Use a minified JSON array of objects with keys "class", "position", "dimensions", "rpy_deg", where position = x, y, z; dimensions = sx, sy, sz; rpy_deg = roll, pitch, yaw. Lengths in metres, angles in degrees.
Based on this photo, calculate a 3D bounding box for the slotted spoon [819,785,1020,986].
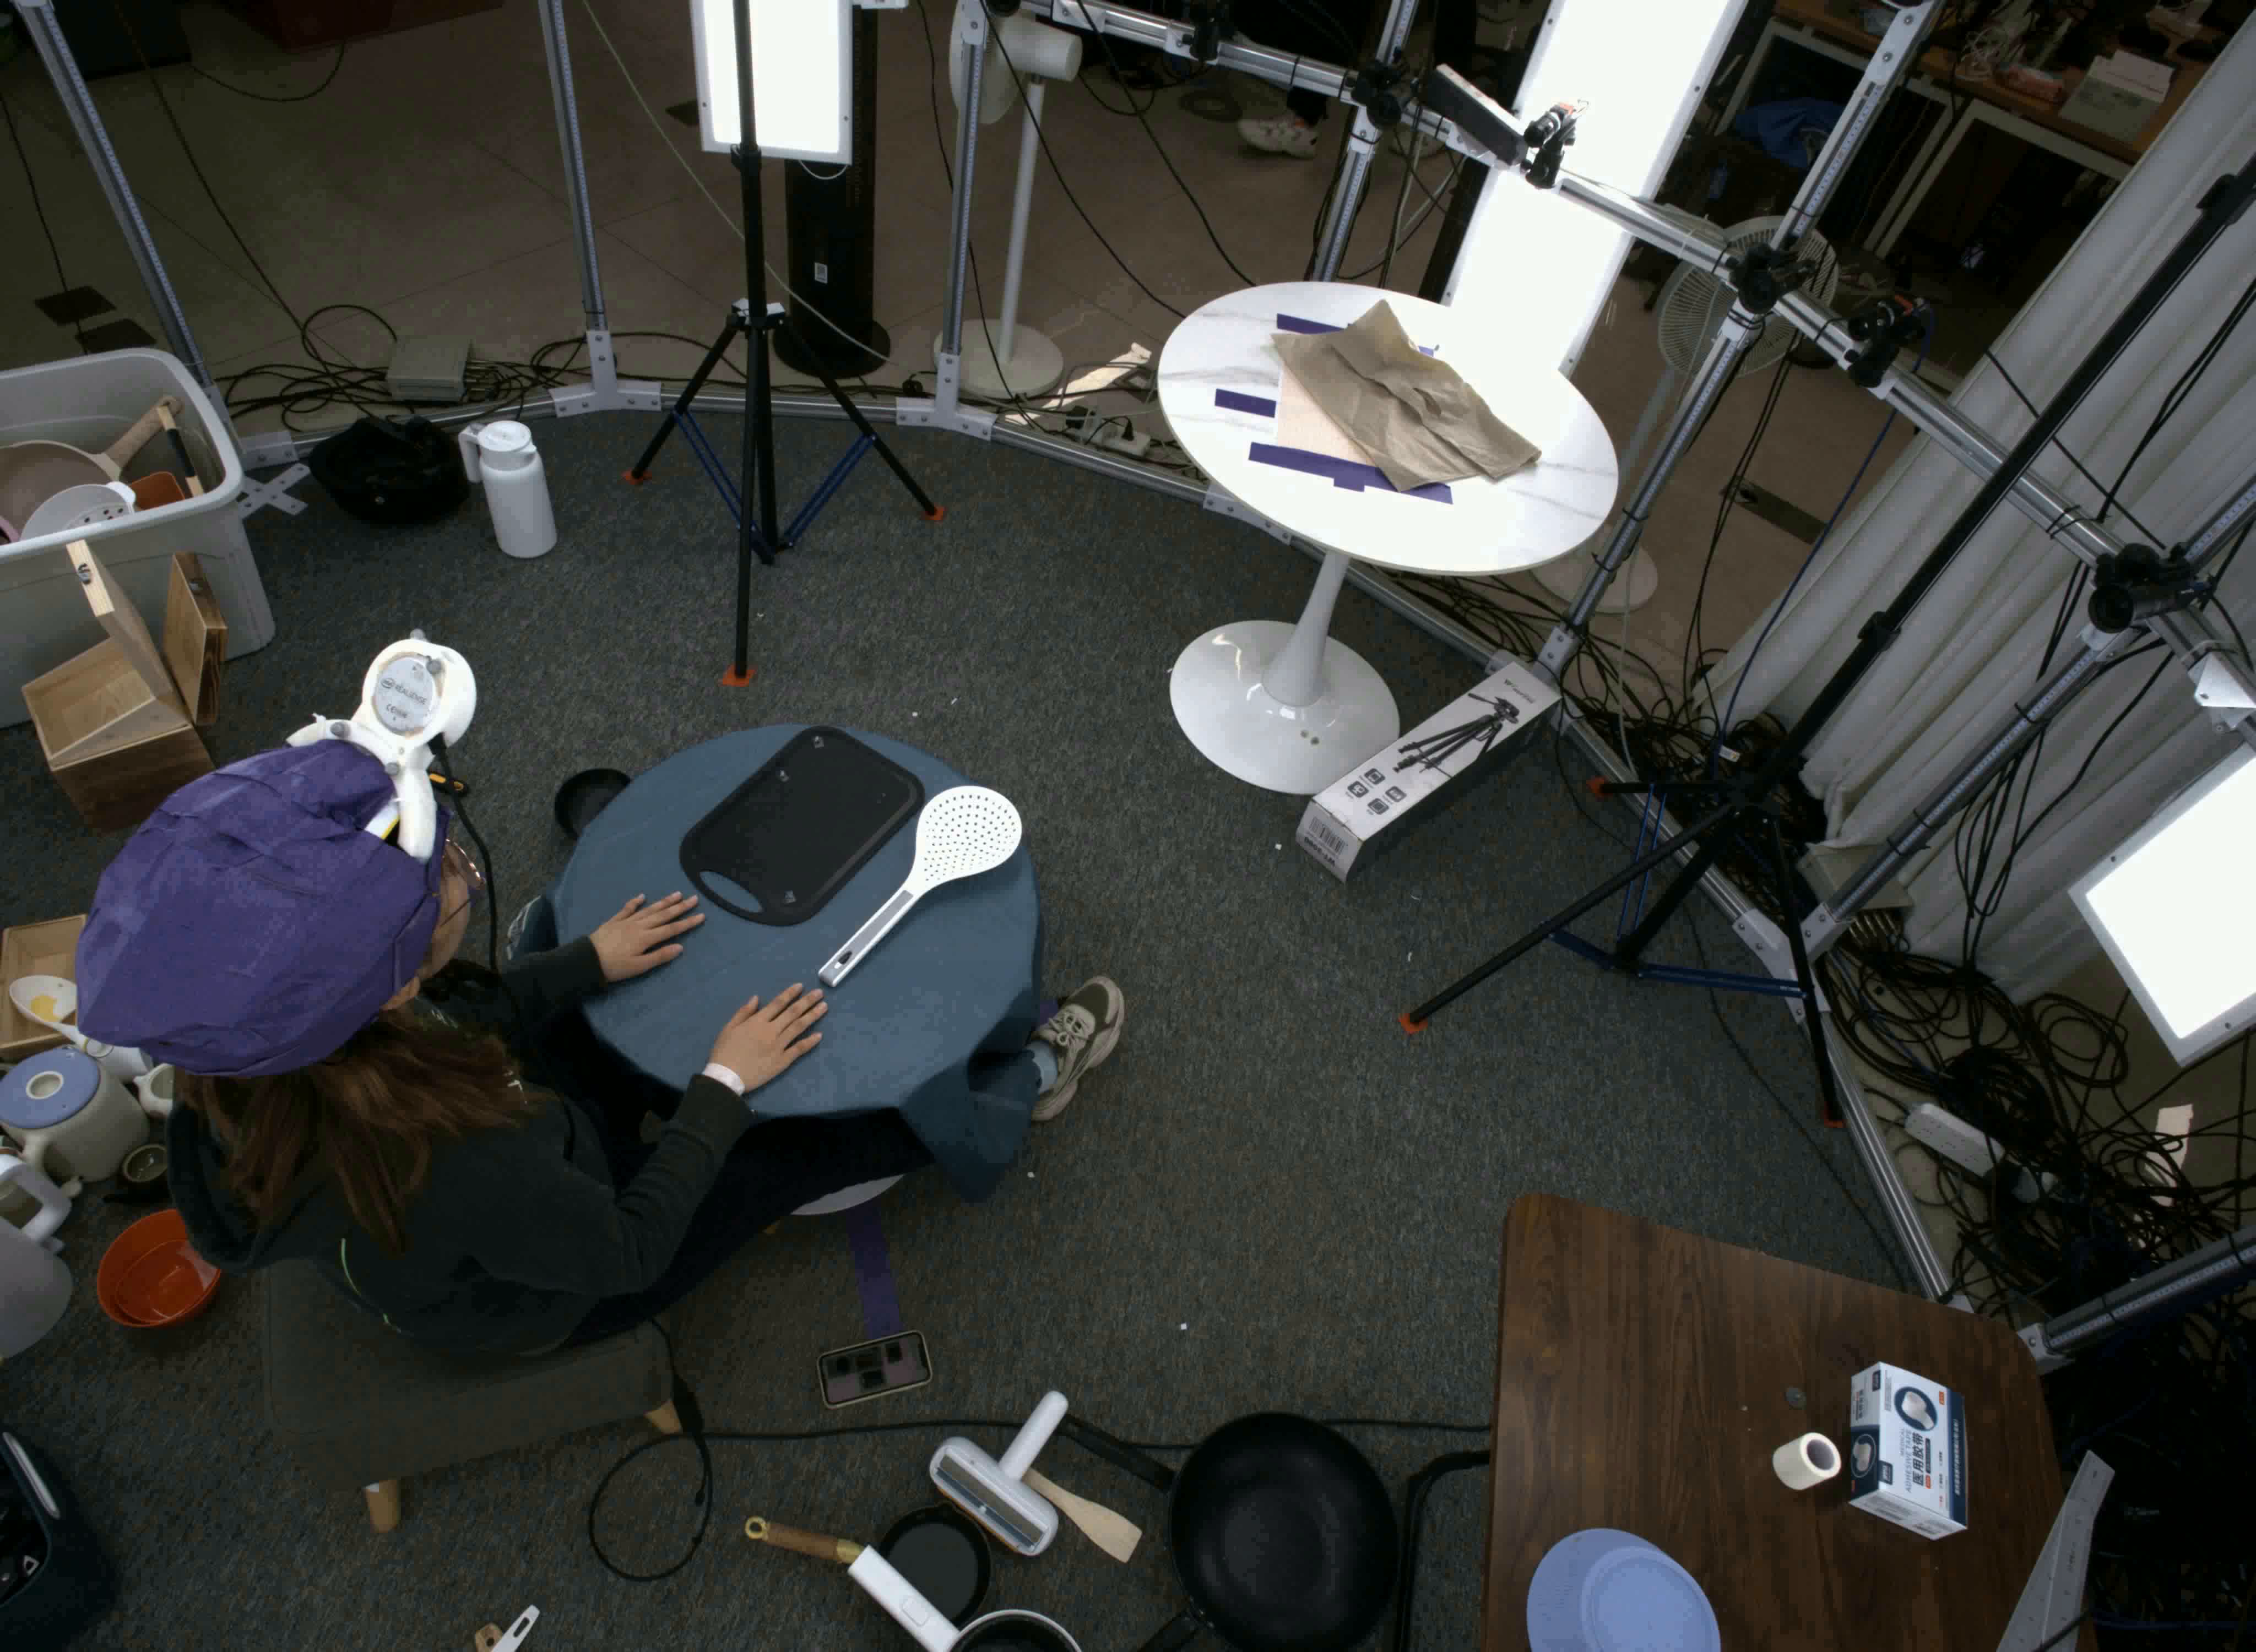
[{"class":"slotted spoon","position":[-0.272,0.075,1.683],"dimensions":[0.133,0.047,0.349],"rpy_deg":[33,54,14]}]

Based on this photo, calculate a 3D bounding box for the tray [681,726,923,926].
[{"class":"tray","position":[-0.434,-0.005,1.726],"dimensions":[0.207,0.010,0.324],"rpy_deg":[31,53,10]}]
